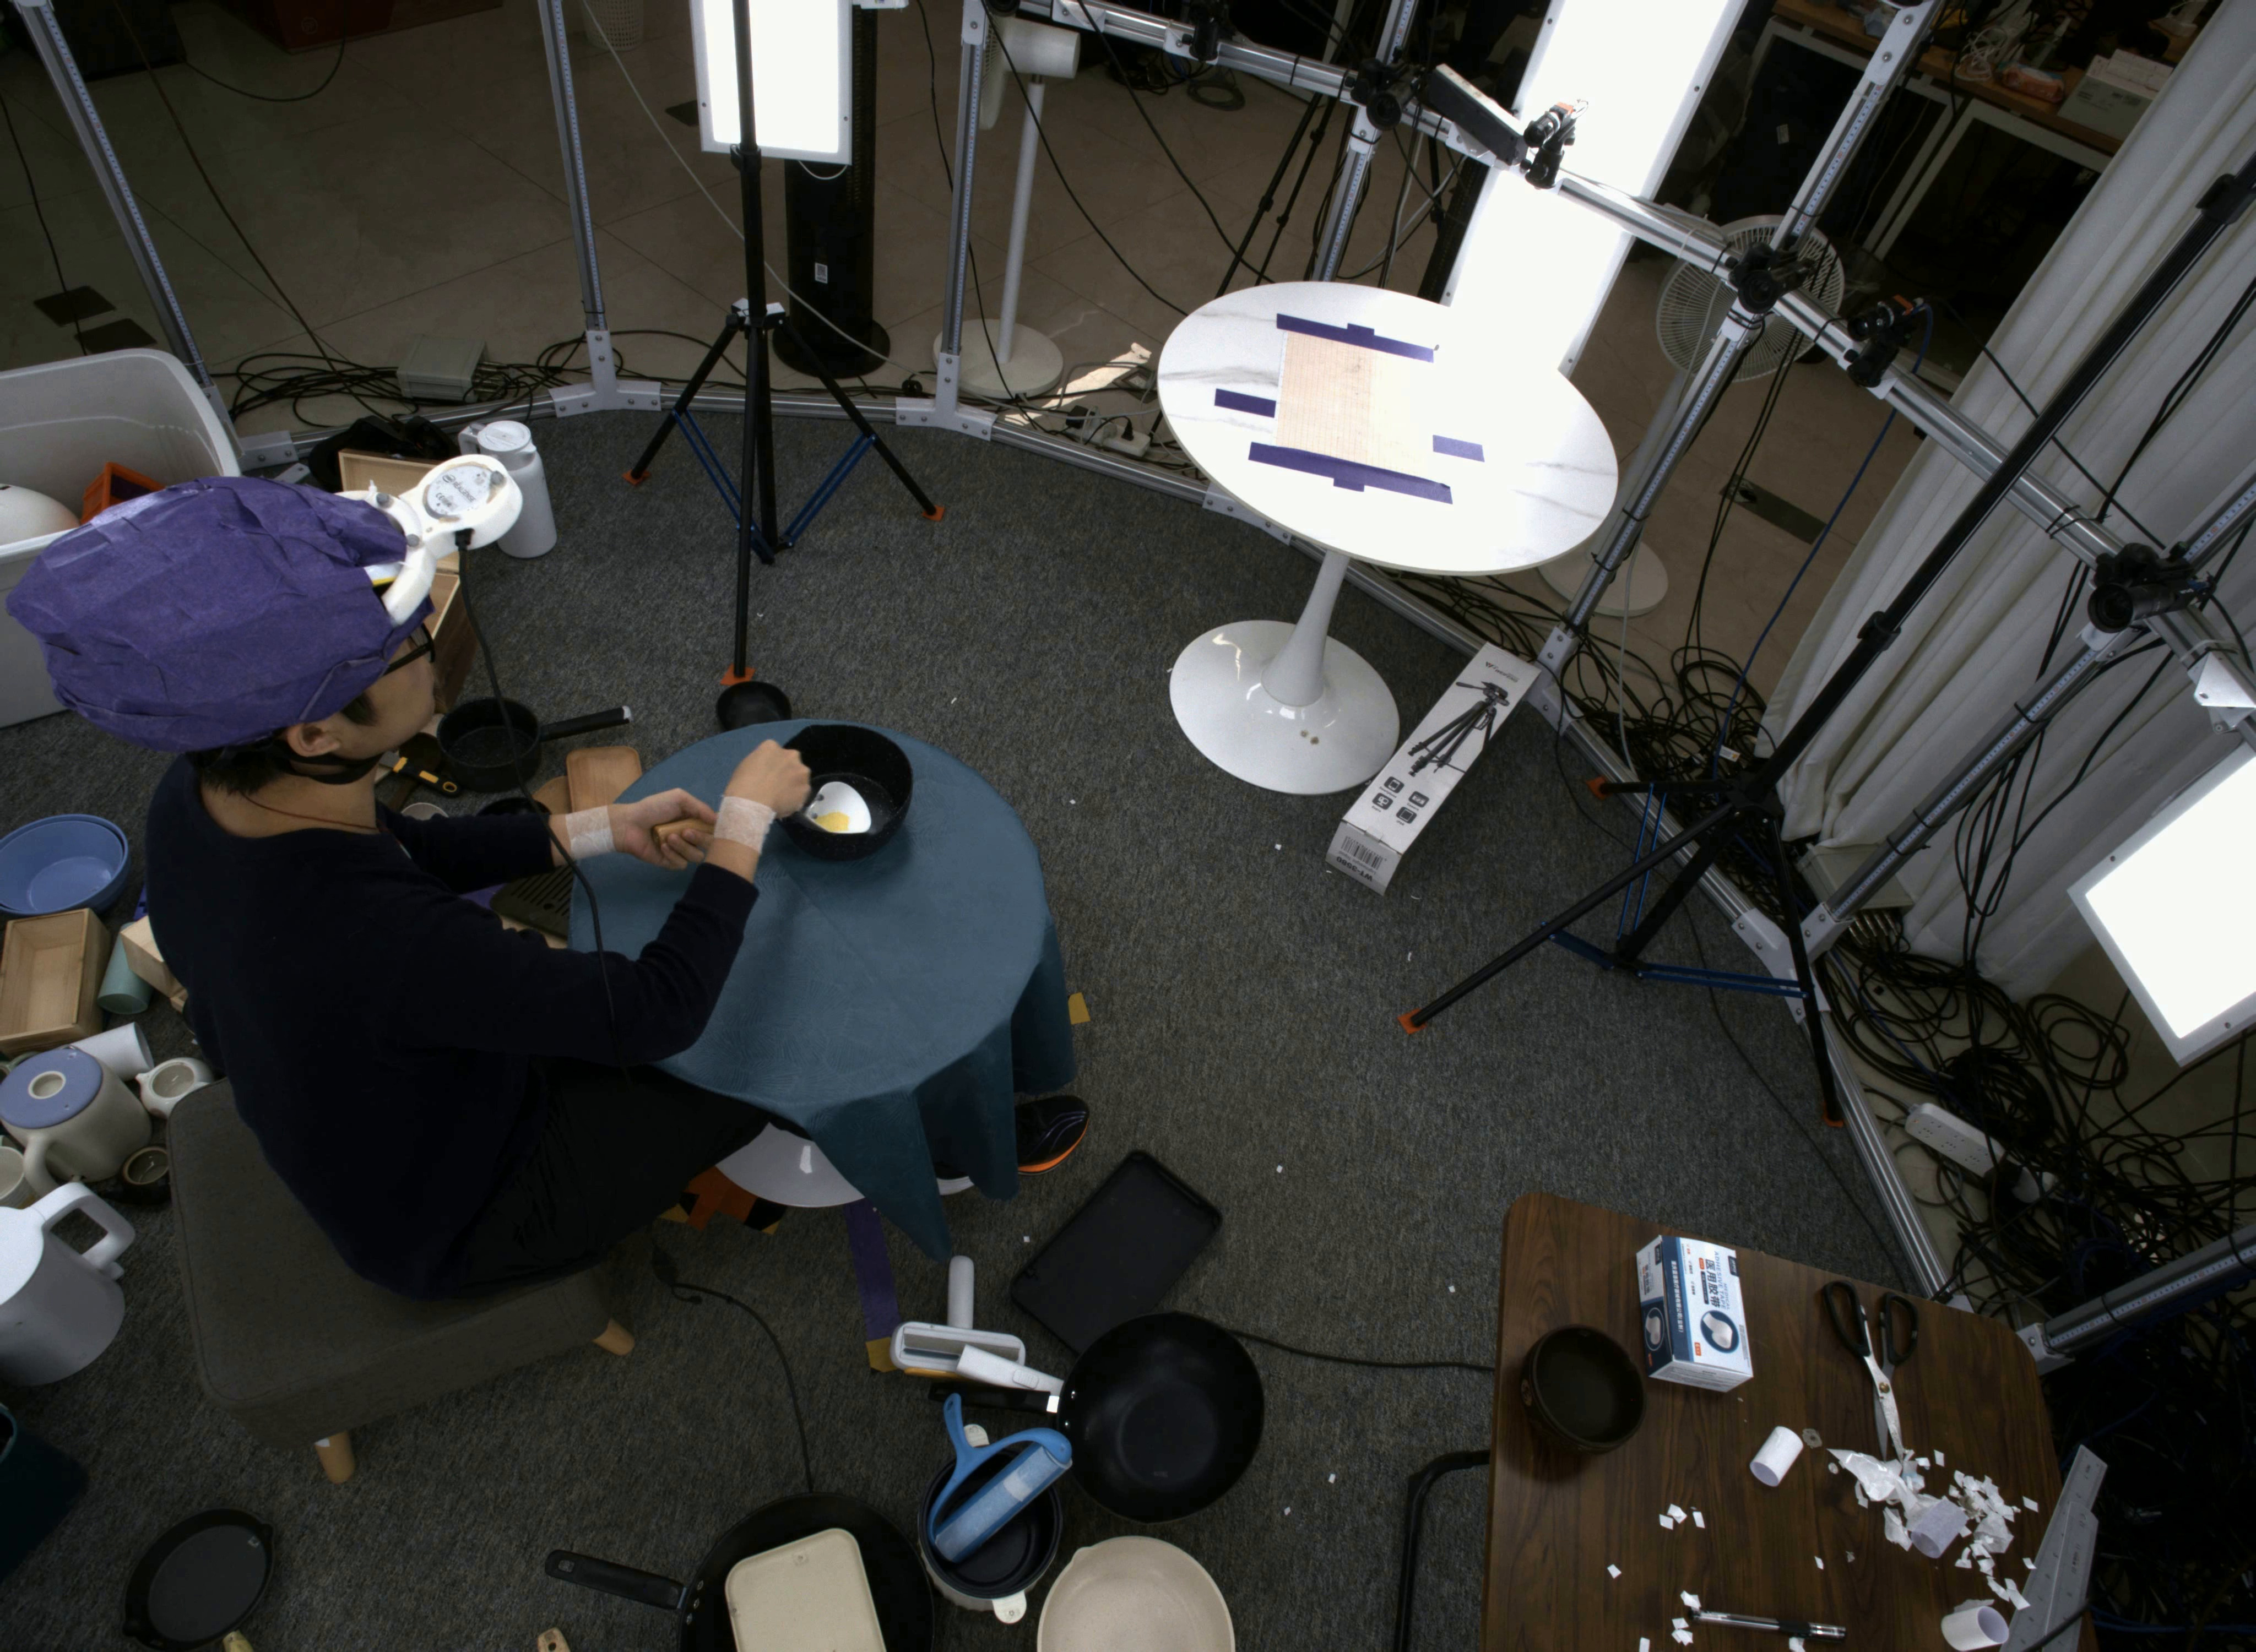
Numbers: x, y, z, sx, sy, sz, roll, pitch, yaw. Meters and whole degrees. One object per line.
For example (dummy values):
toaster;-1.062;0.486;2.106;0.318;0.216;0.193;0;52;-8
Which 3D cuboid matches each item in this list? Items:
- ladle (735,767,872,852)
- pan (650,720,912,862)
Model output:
ladle;-0.390;-0.029;1.585;0.069;0.297;0.090;-17;78;3
pan;-0.440;-0.018;1.654;0.345;0.110;0.202;-24;63;-30
